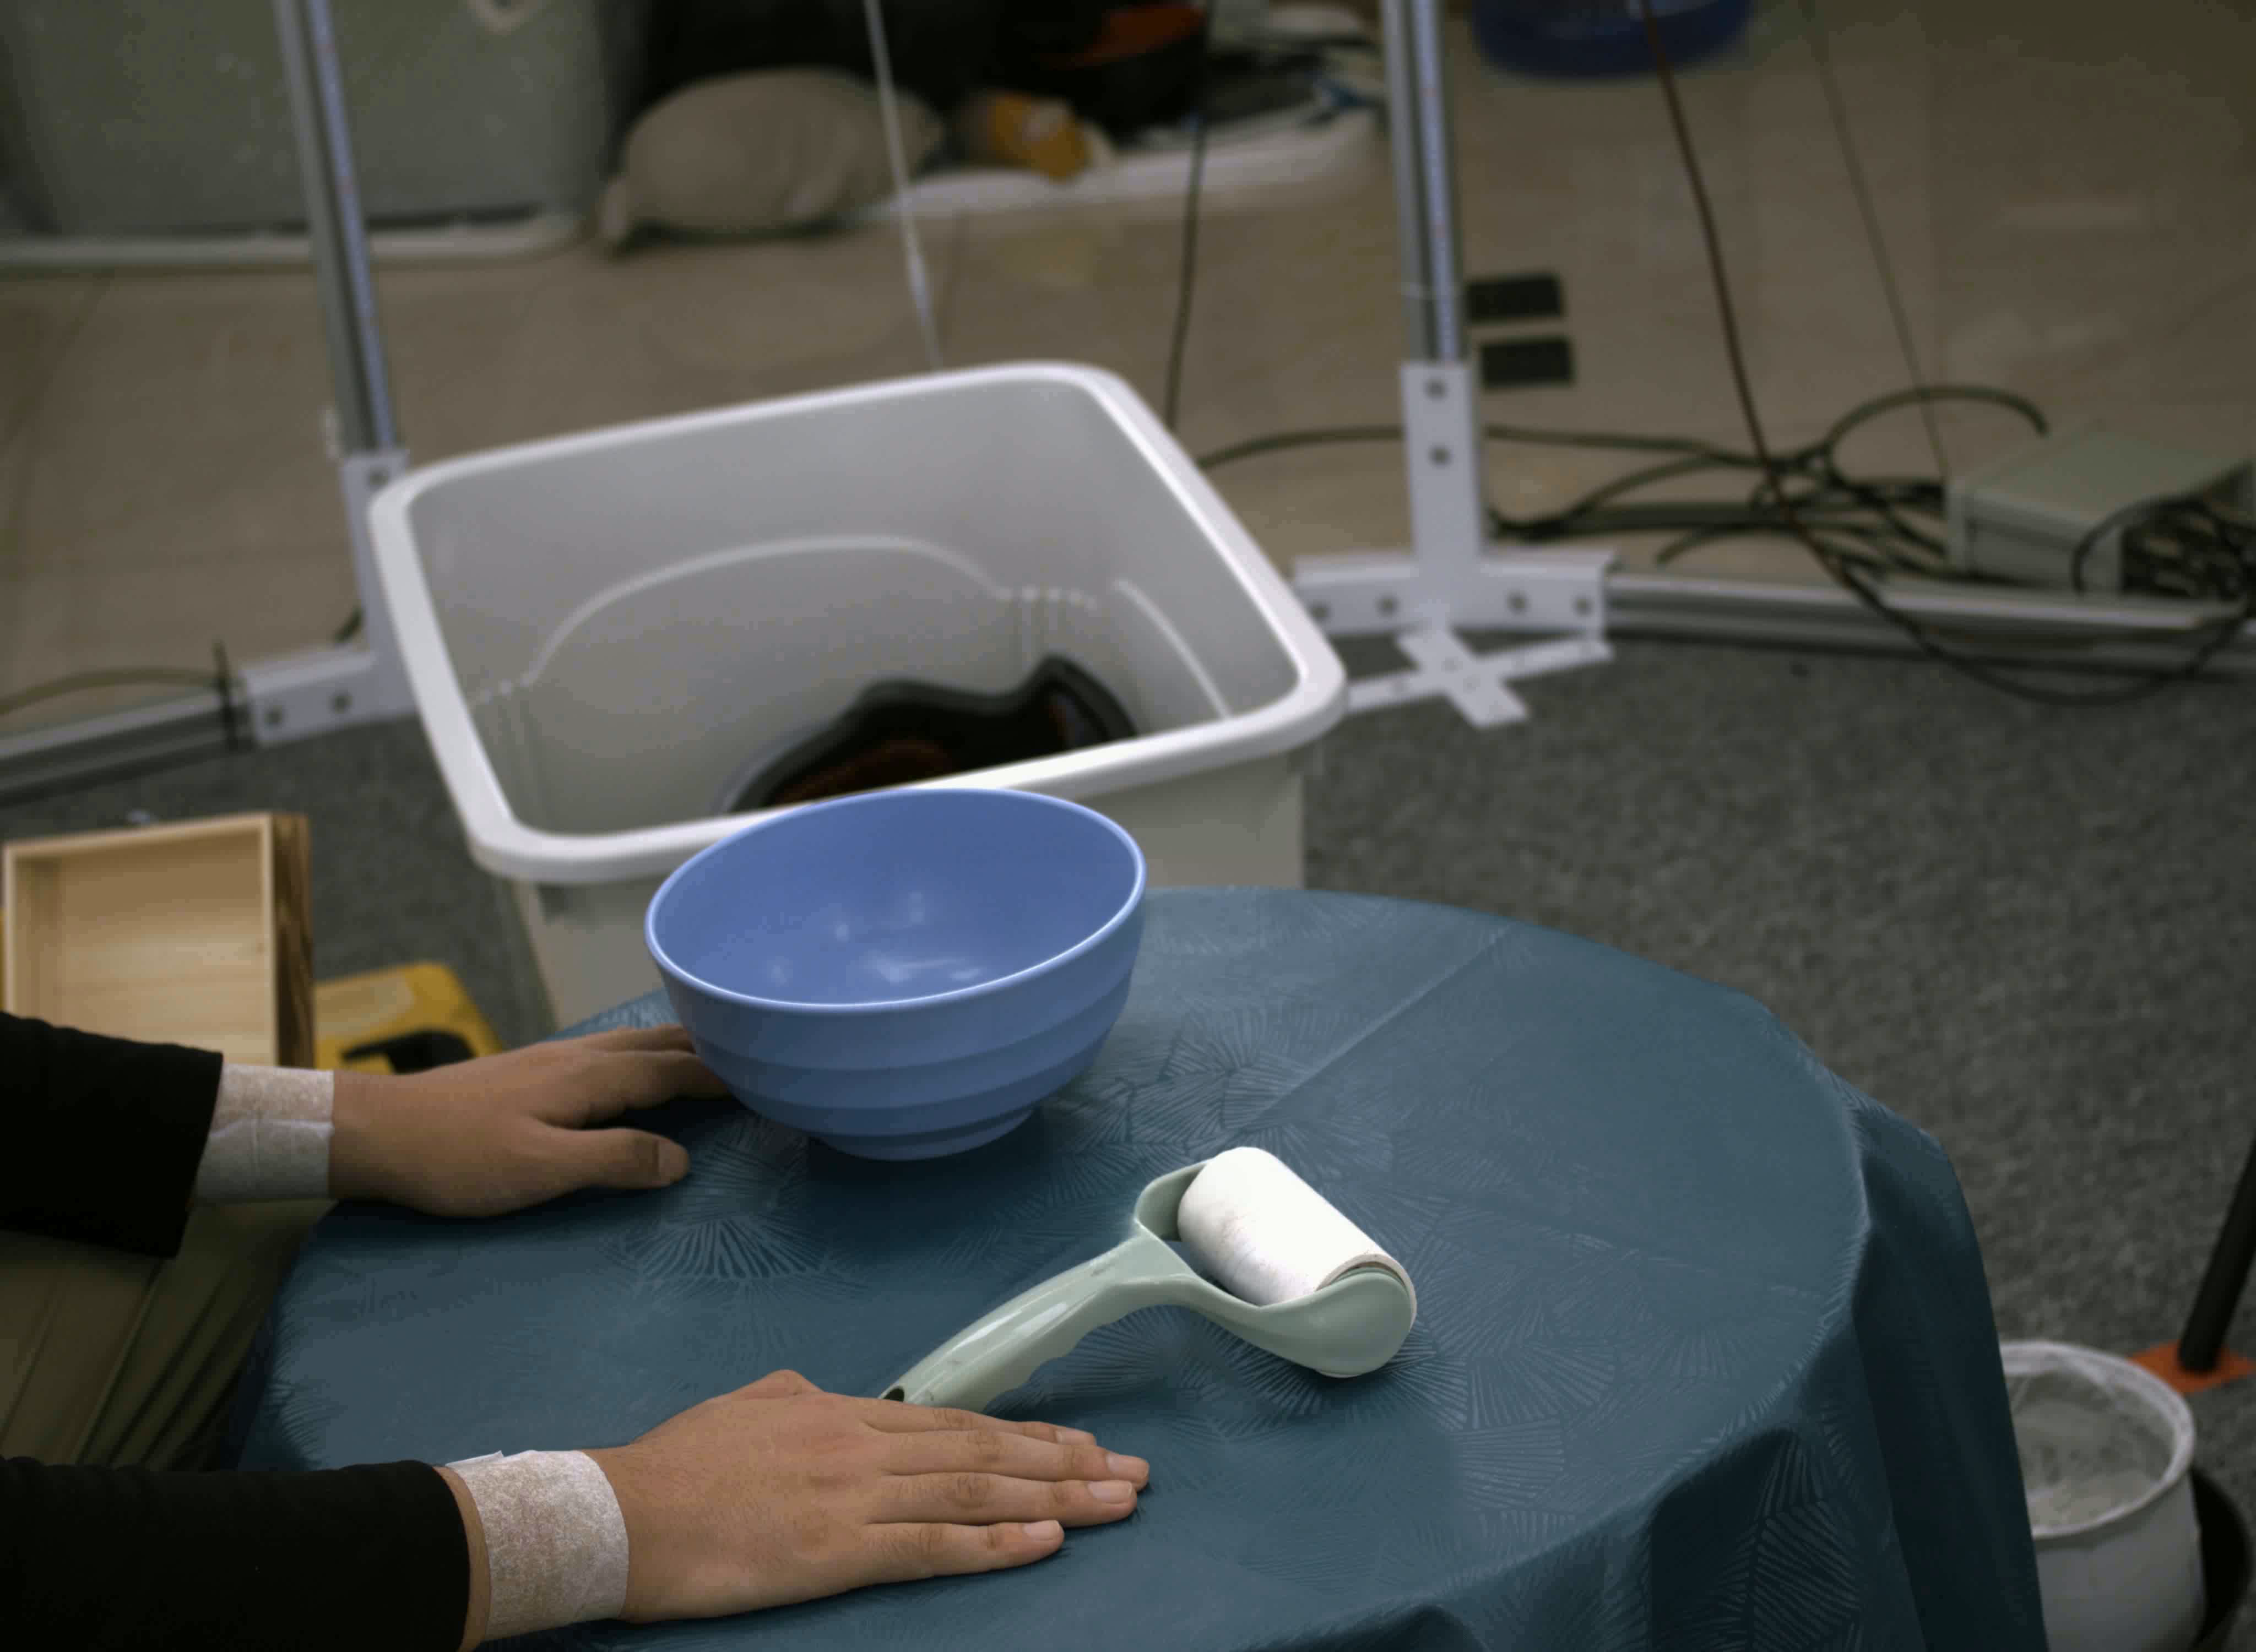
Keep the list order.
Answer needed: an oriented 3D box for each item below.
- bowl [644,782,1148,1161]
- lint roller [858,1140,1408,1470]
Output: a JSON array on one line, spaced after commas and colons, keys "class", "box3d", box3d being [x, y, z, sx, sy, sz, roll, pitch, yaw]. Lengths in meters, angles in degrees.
[{"class": "bowl", "box3d": [-0.085, 0.067, 2.208, 0.196, 0.097, 0.193, -5, 26, 3]}, {"class": "lint roller", "box3d": [-0.009, 0.175, 2.021, 0.196, 0.049, 0.115, -18, 29, -20]}]
